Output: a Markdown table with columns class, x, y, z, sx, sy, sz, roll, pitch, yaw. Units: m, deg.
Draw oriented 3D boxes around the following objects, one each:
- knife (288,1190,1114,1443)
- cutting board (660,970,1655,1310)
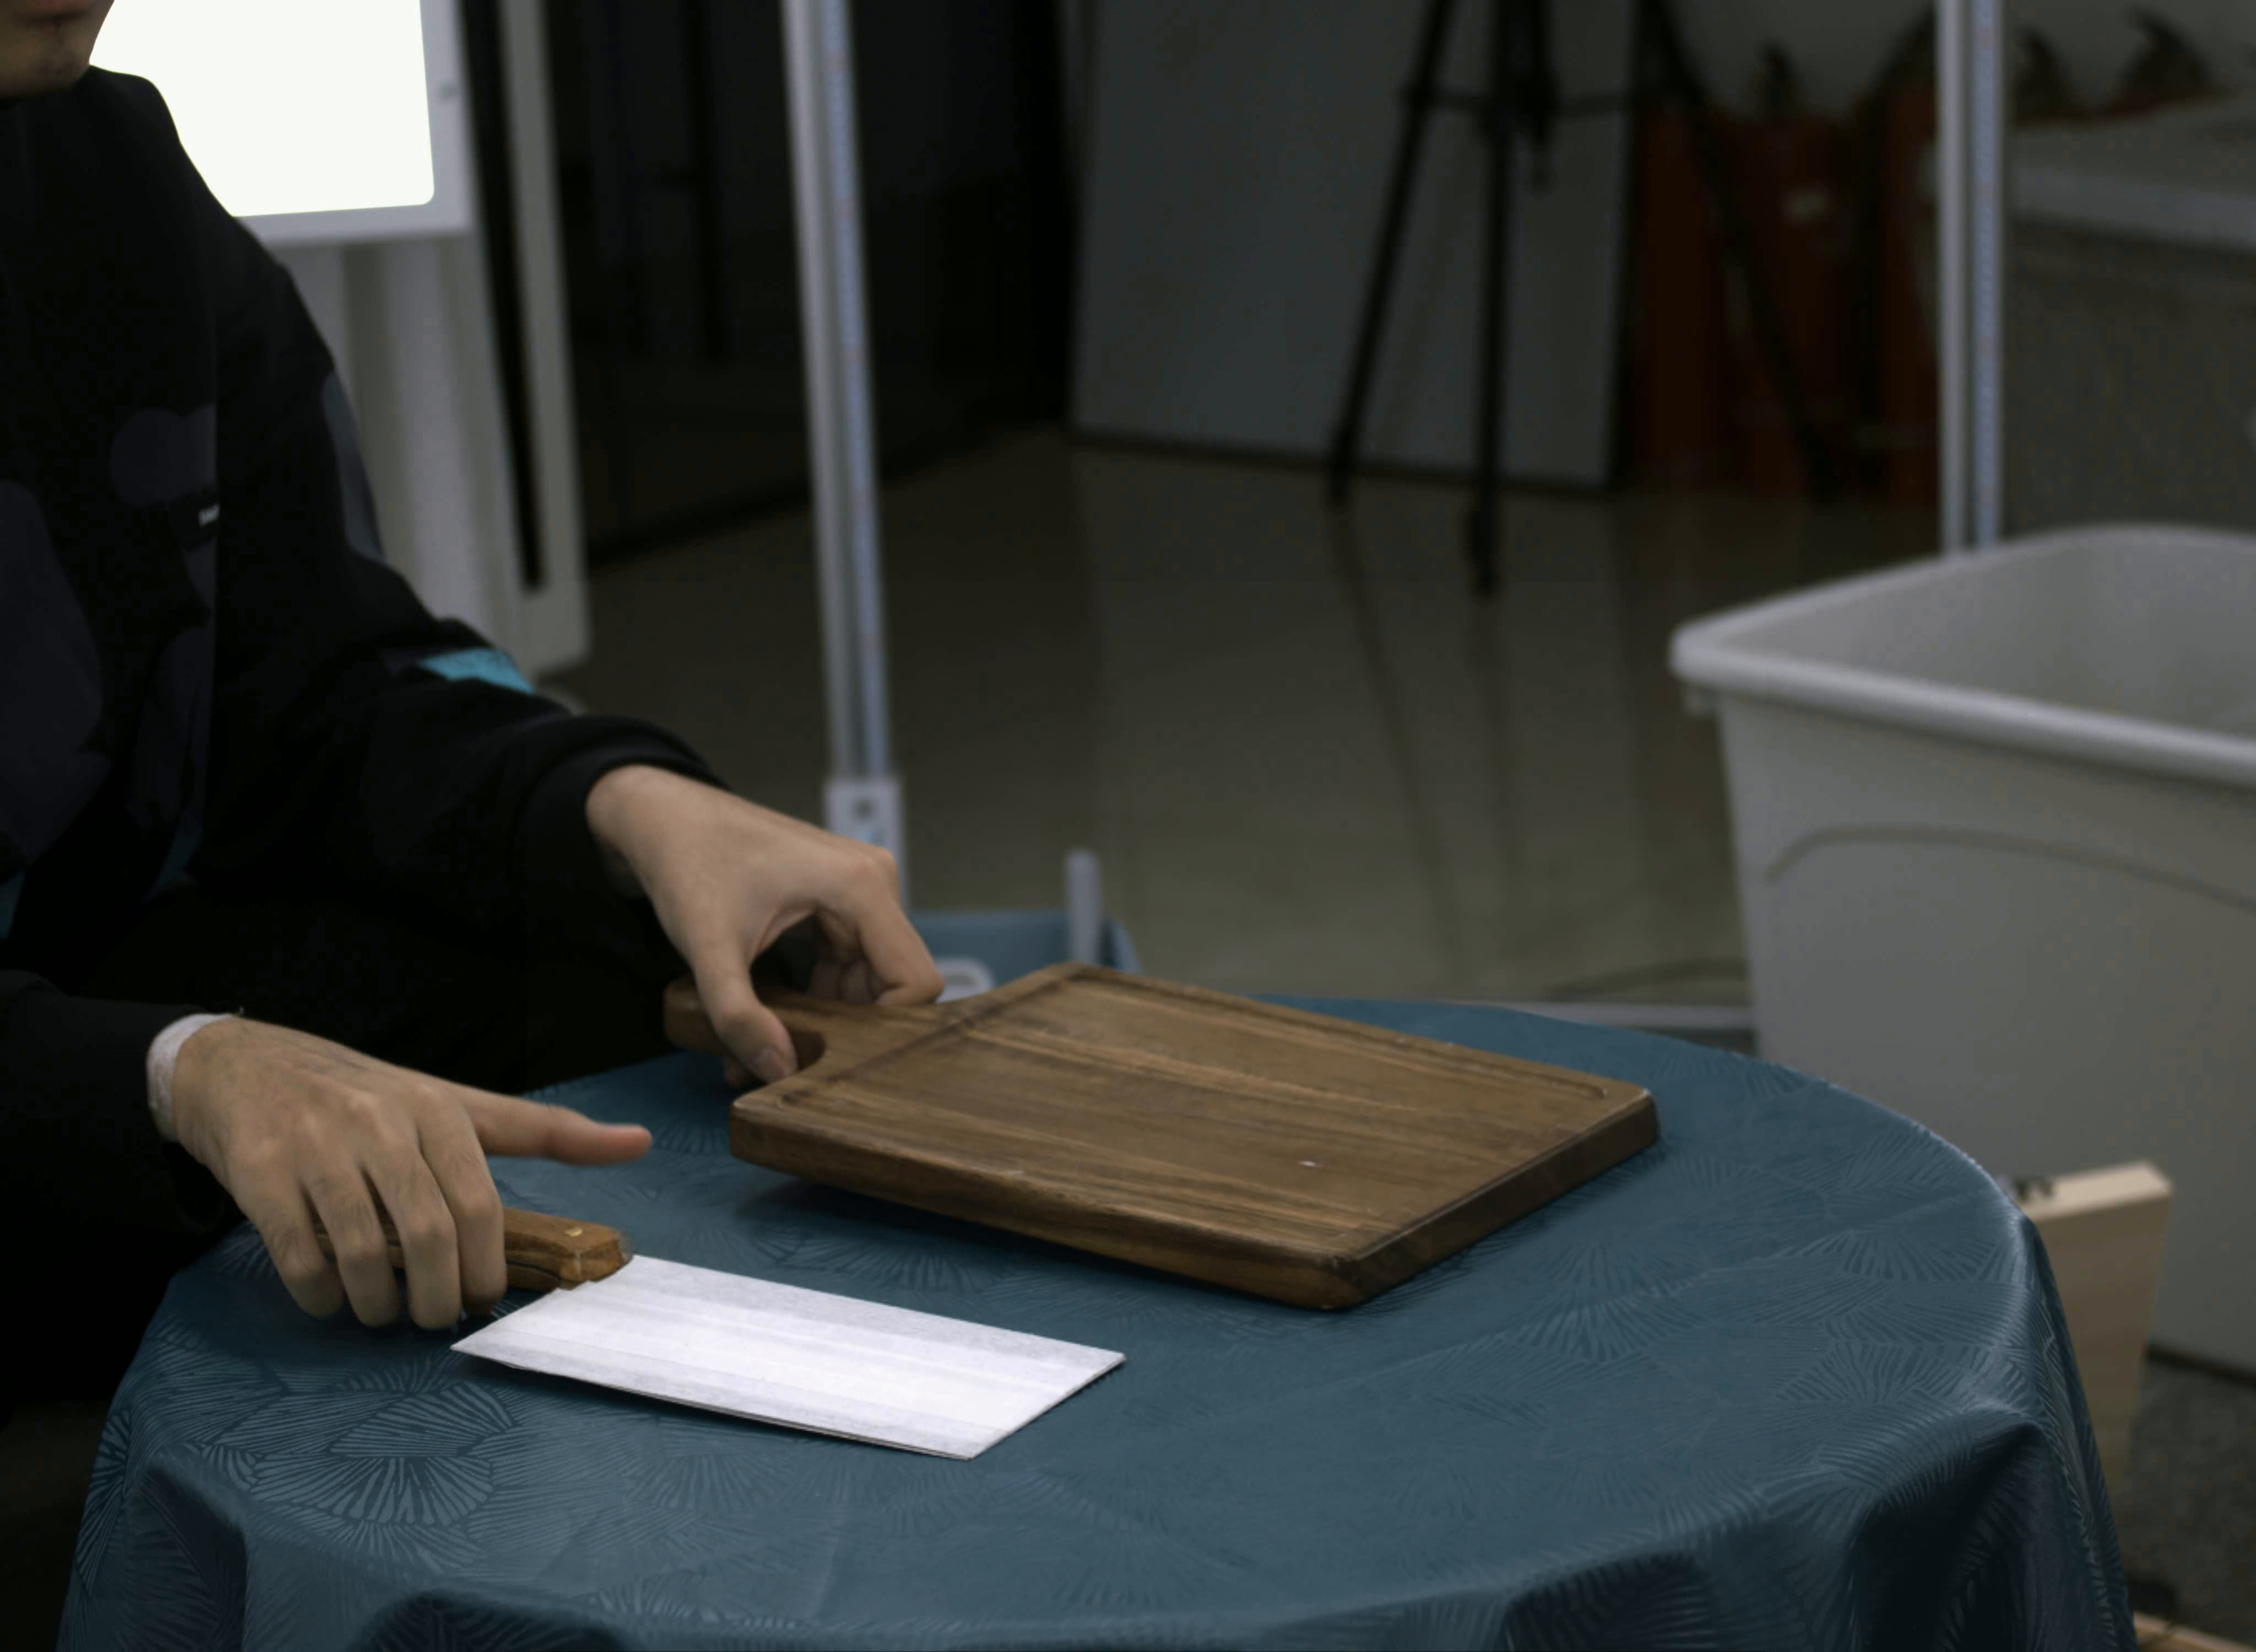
| class | x | y | z | sx | sy | sz | roll | pitch | yaw |
| --- | --- | --- | --- | --- | --- | --- | --- | --- | --- |
| knife | -0.150 | 0.153 | 1.656 | 0.307 | 0.021 | 0.091 | 7 | 19 | 32 |
| cutting board | -0.017 | 0.092 | 1.808 | 0.354 | 0.023 | 0.197 | 10 | 20 | 36 |
